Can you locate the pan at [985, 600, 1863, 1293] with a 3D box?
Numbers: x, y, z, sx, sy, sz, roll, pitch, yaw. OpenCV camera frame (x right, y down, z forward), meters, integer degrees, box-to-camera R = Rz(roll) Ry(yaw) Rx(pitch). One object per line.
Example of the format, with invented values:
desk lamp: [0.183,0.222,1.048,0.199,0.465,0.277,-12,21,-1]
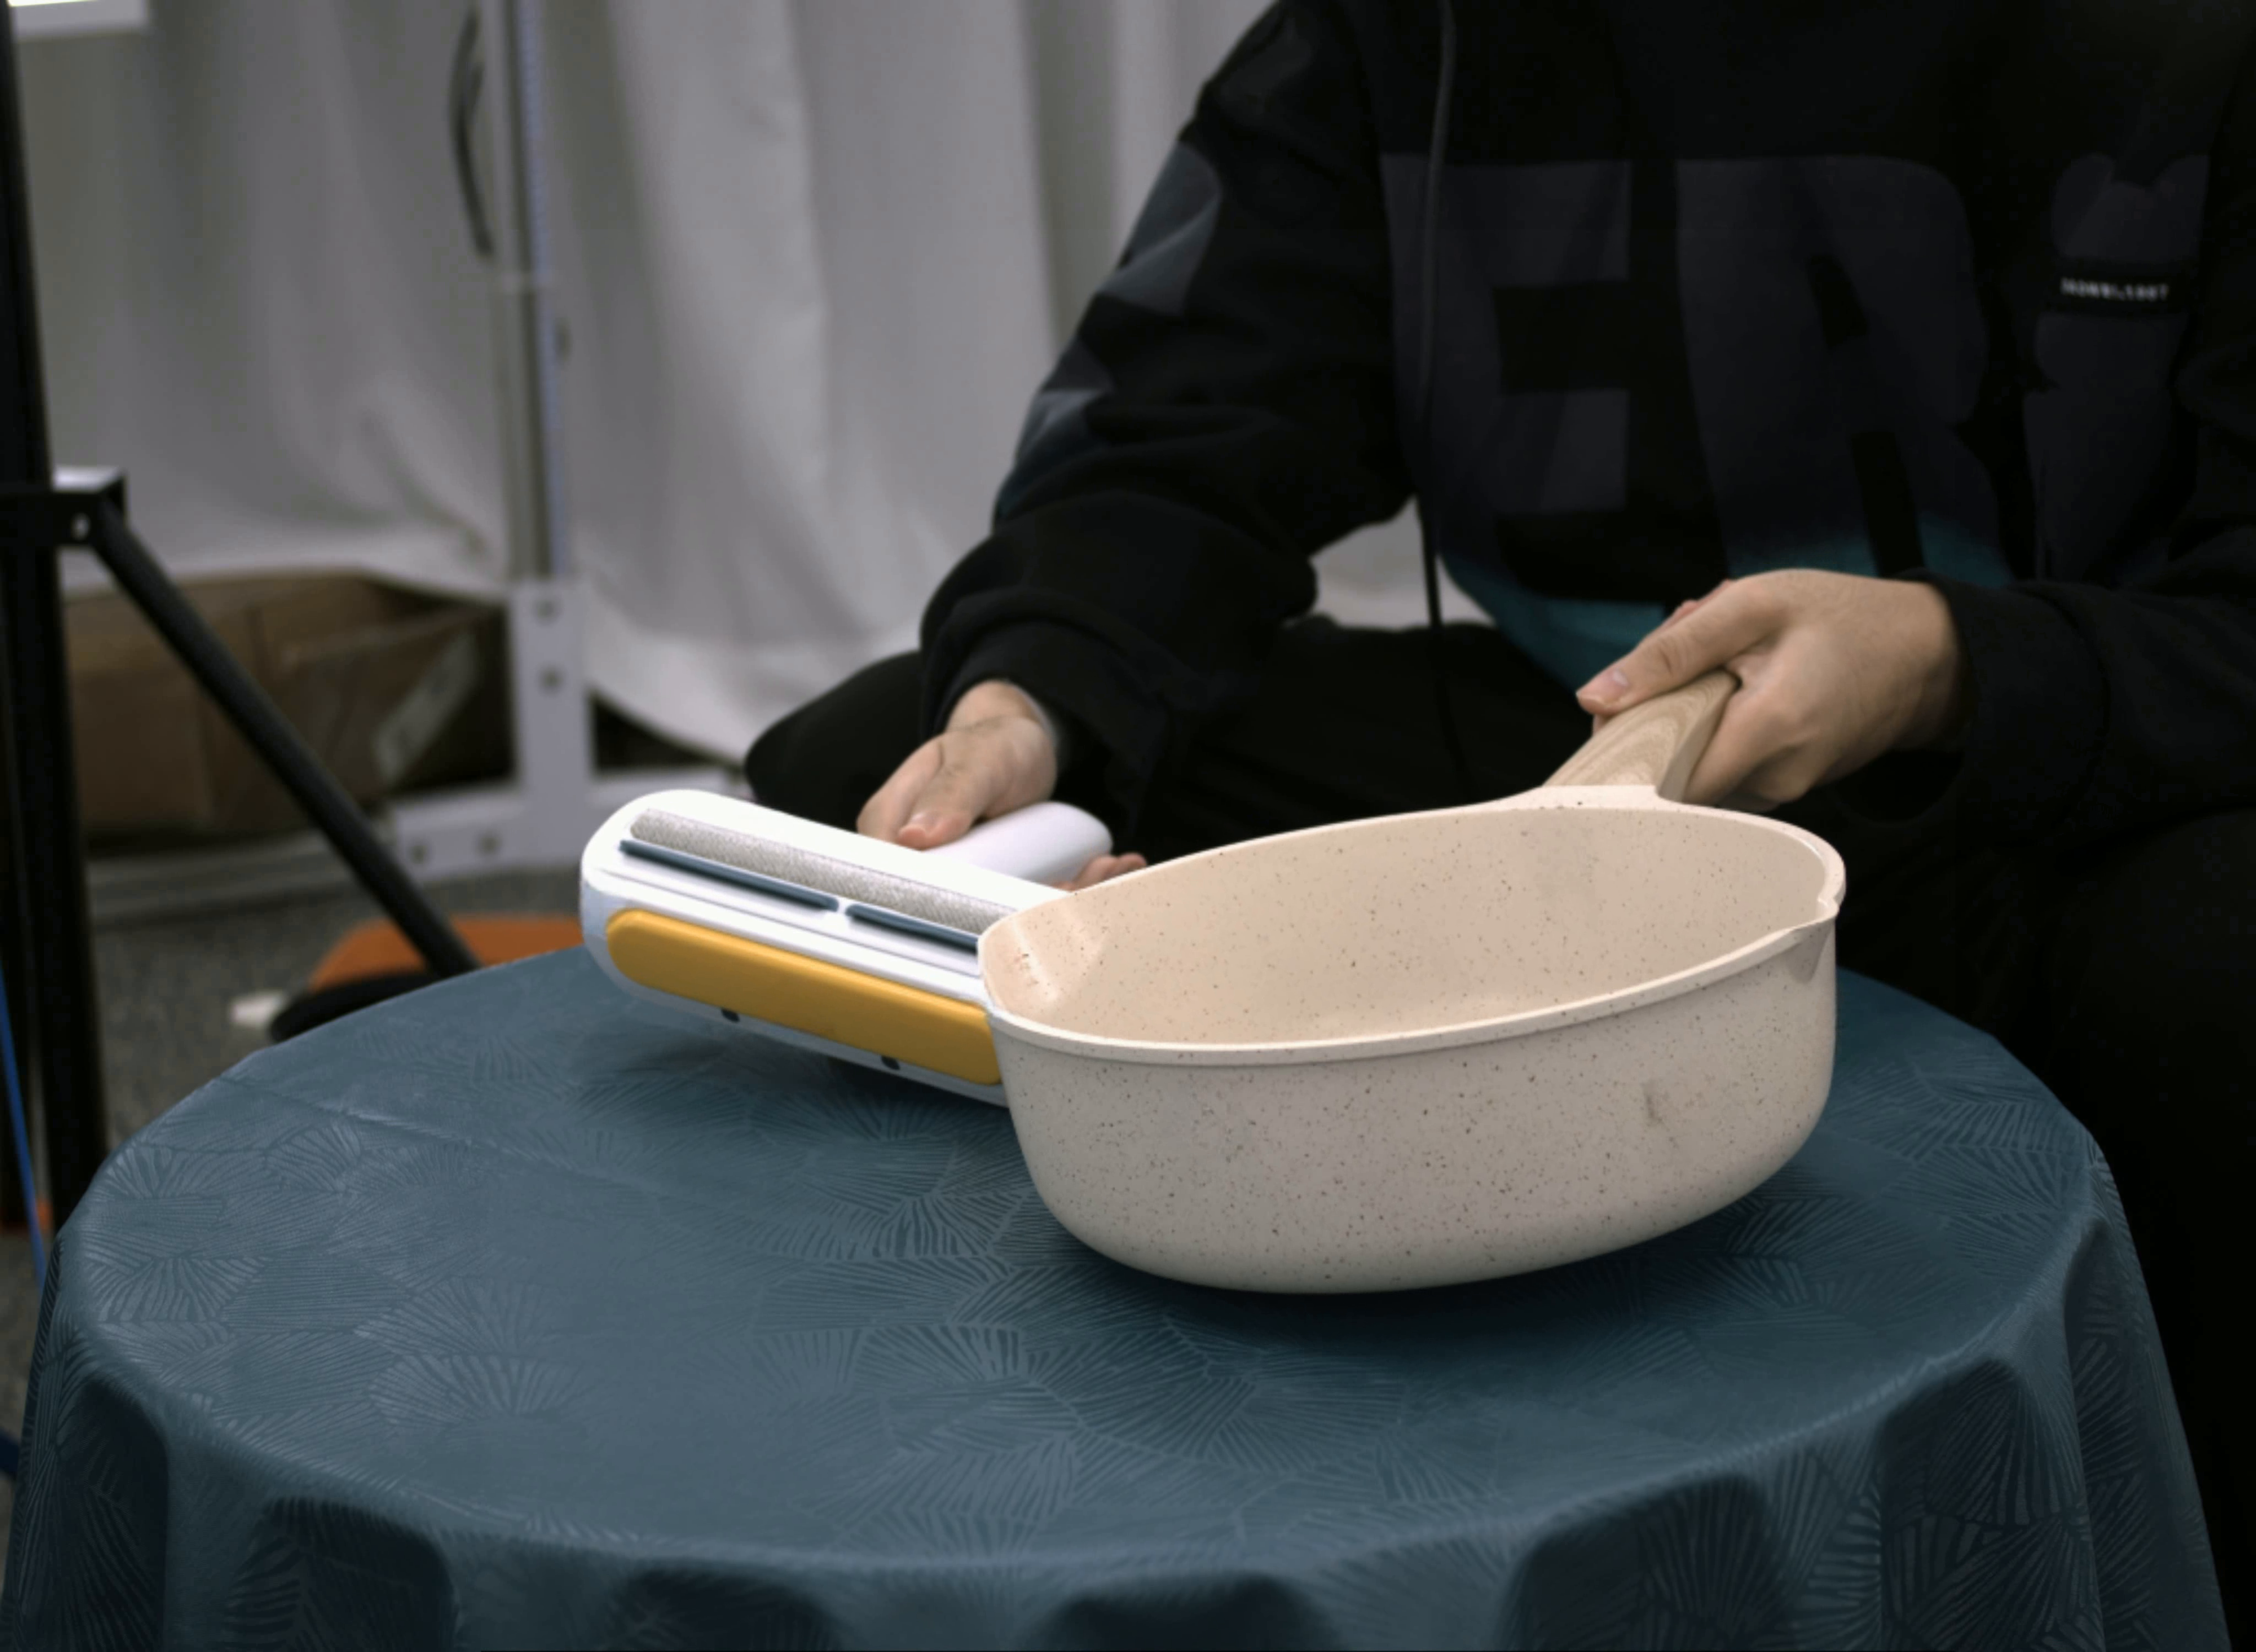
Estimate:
pan: [0.128,0.032,1.584,0.267,0.102,0.428,-4,14,29]

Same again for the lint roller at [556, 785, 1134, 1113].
lint roller: [-0.061,0.021,1.718,0.196,0.074,0.189,12,30,30]
